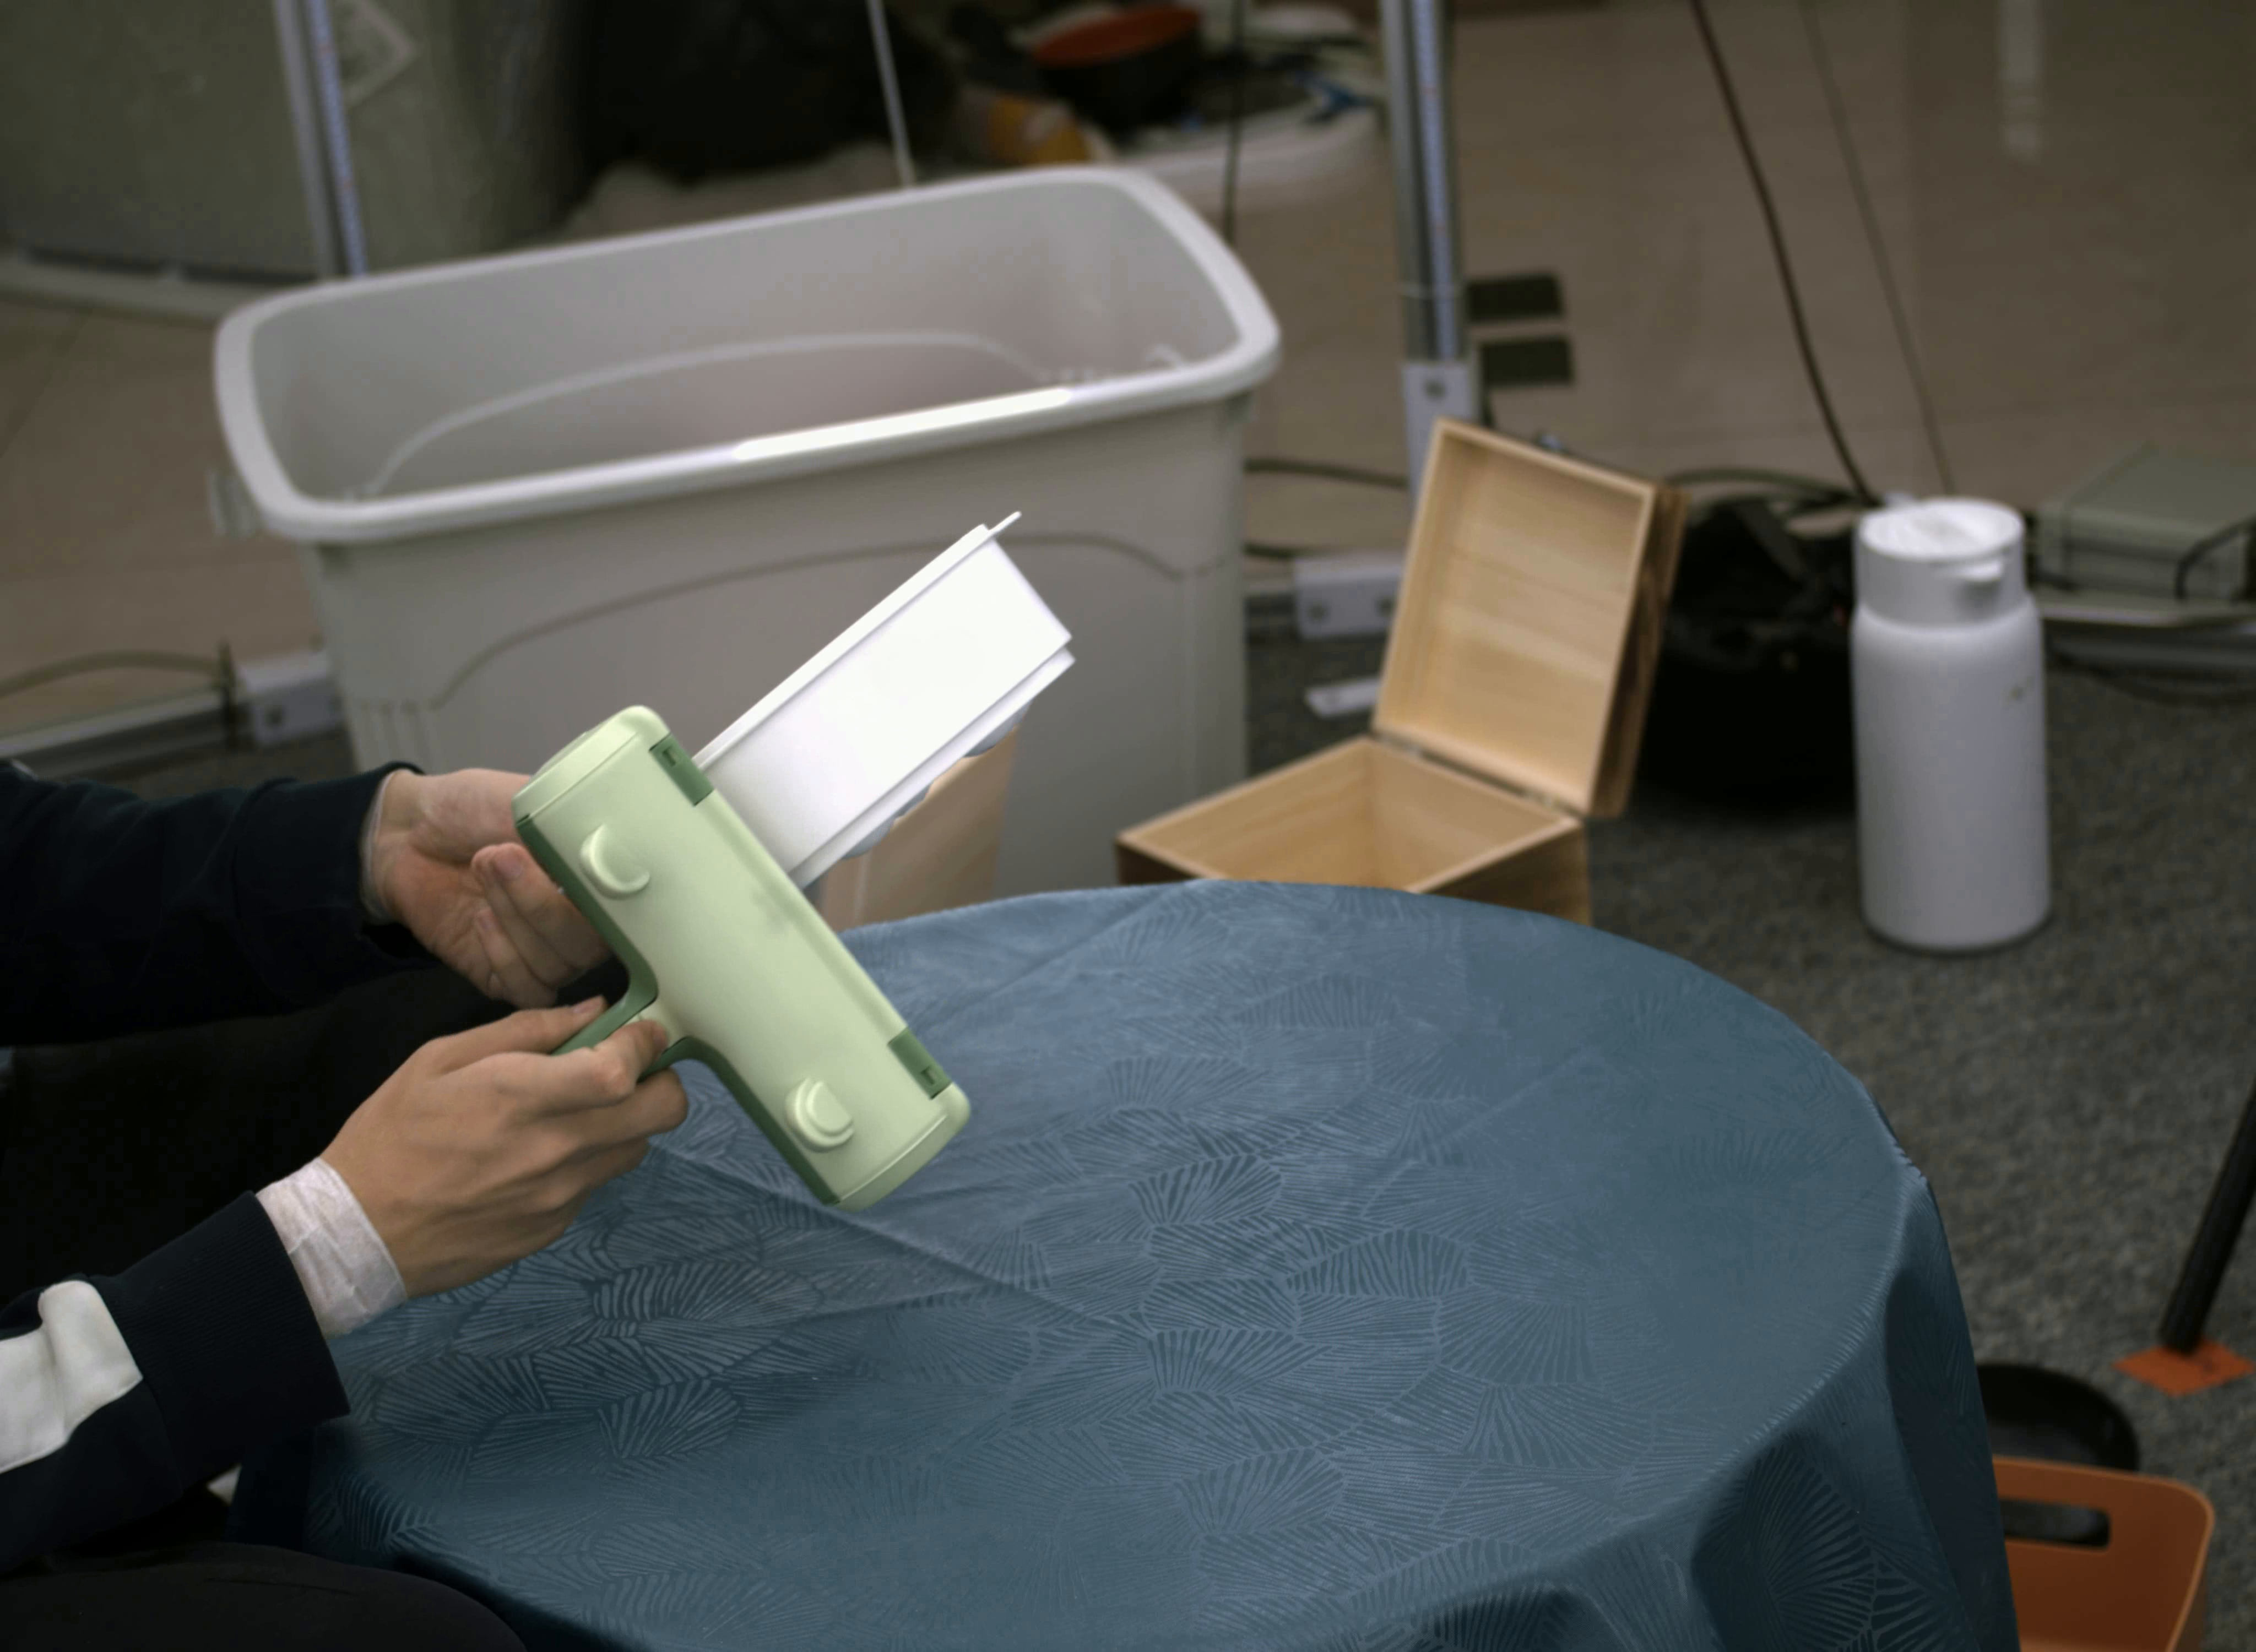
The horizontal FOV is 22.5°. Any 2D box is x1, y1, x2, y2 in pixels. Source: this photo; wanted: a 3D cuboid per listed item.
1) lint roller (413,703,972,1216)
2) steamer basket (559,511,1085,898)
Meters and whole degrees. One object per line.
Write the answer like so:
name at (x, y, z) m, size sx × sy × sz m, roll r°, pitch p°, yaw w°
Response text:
lint roller at (-0.183, 0.084, 2.021) m, size 0.183 × 0.199 × 0.082 m, roll -38°, pitch 9°, yaw 2°
steamer basket at (-0.107, -0.028, 2.127) m, size 0.228 × 0.069 × 0.203 m, roll -39°, pitch 2°, yaw -22°
